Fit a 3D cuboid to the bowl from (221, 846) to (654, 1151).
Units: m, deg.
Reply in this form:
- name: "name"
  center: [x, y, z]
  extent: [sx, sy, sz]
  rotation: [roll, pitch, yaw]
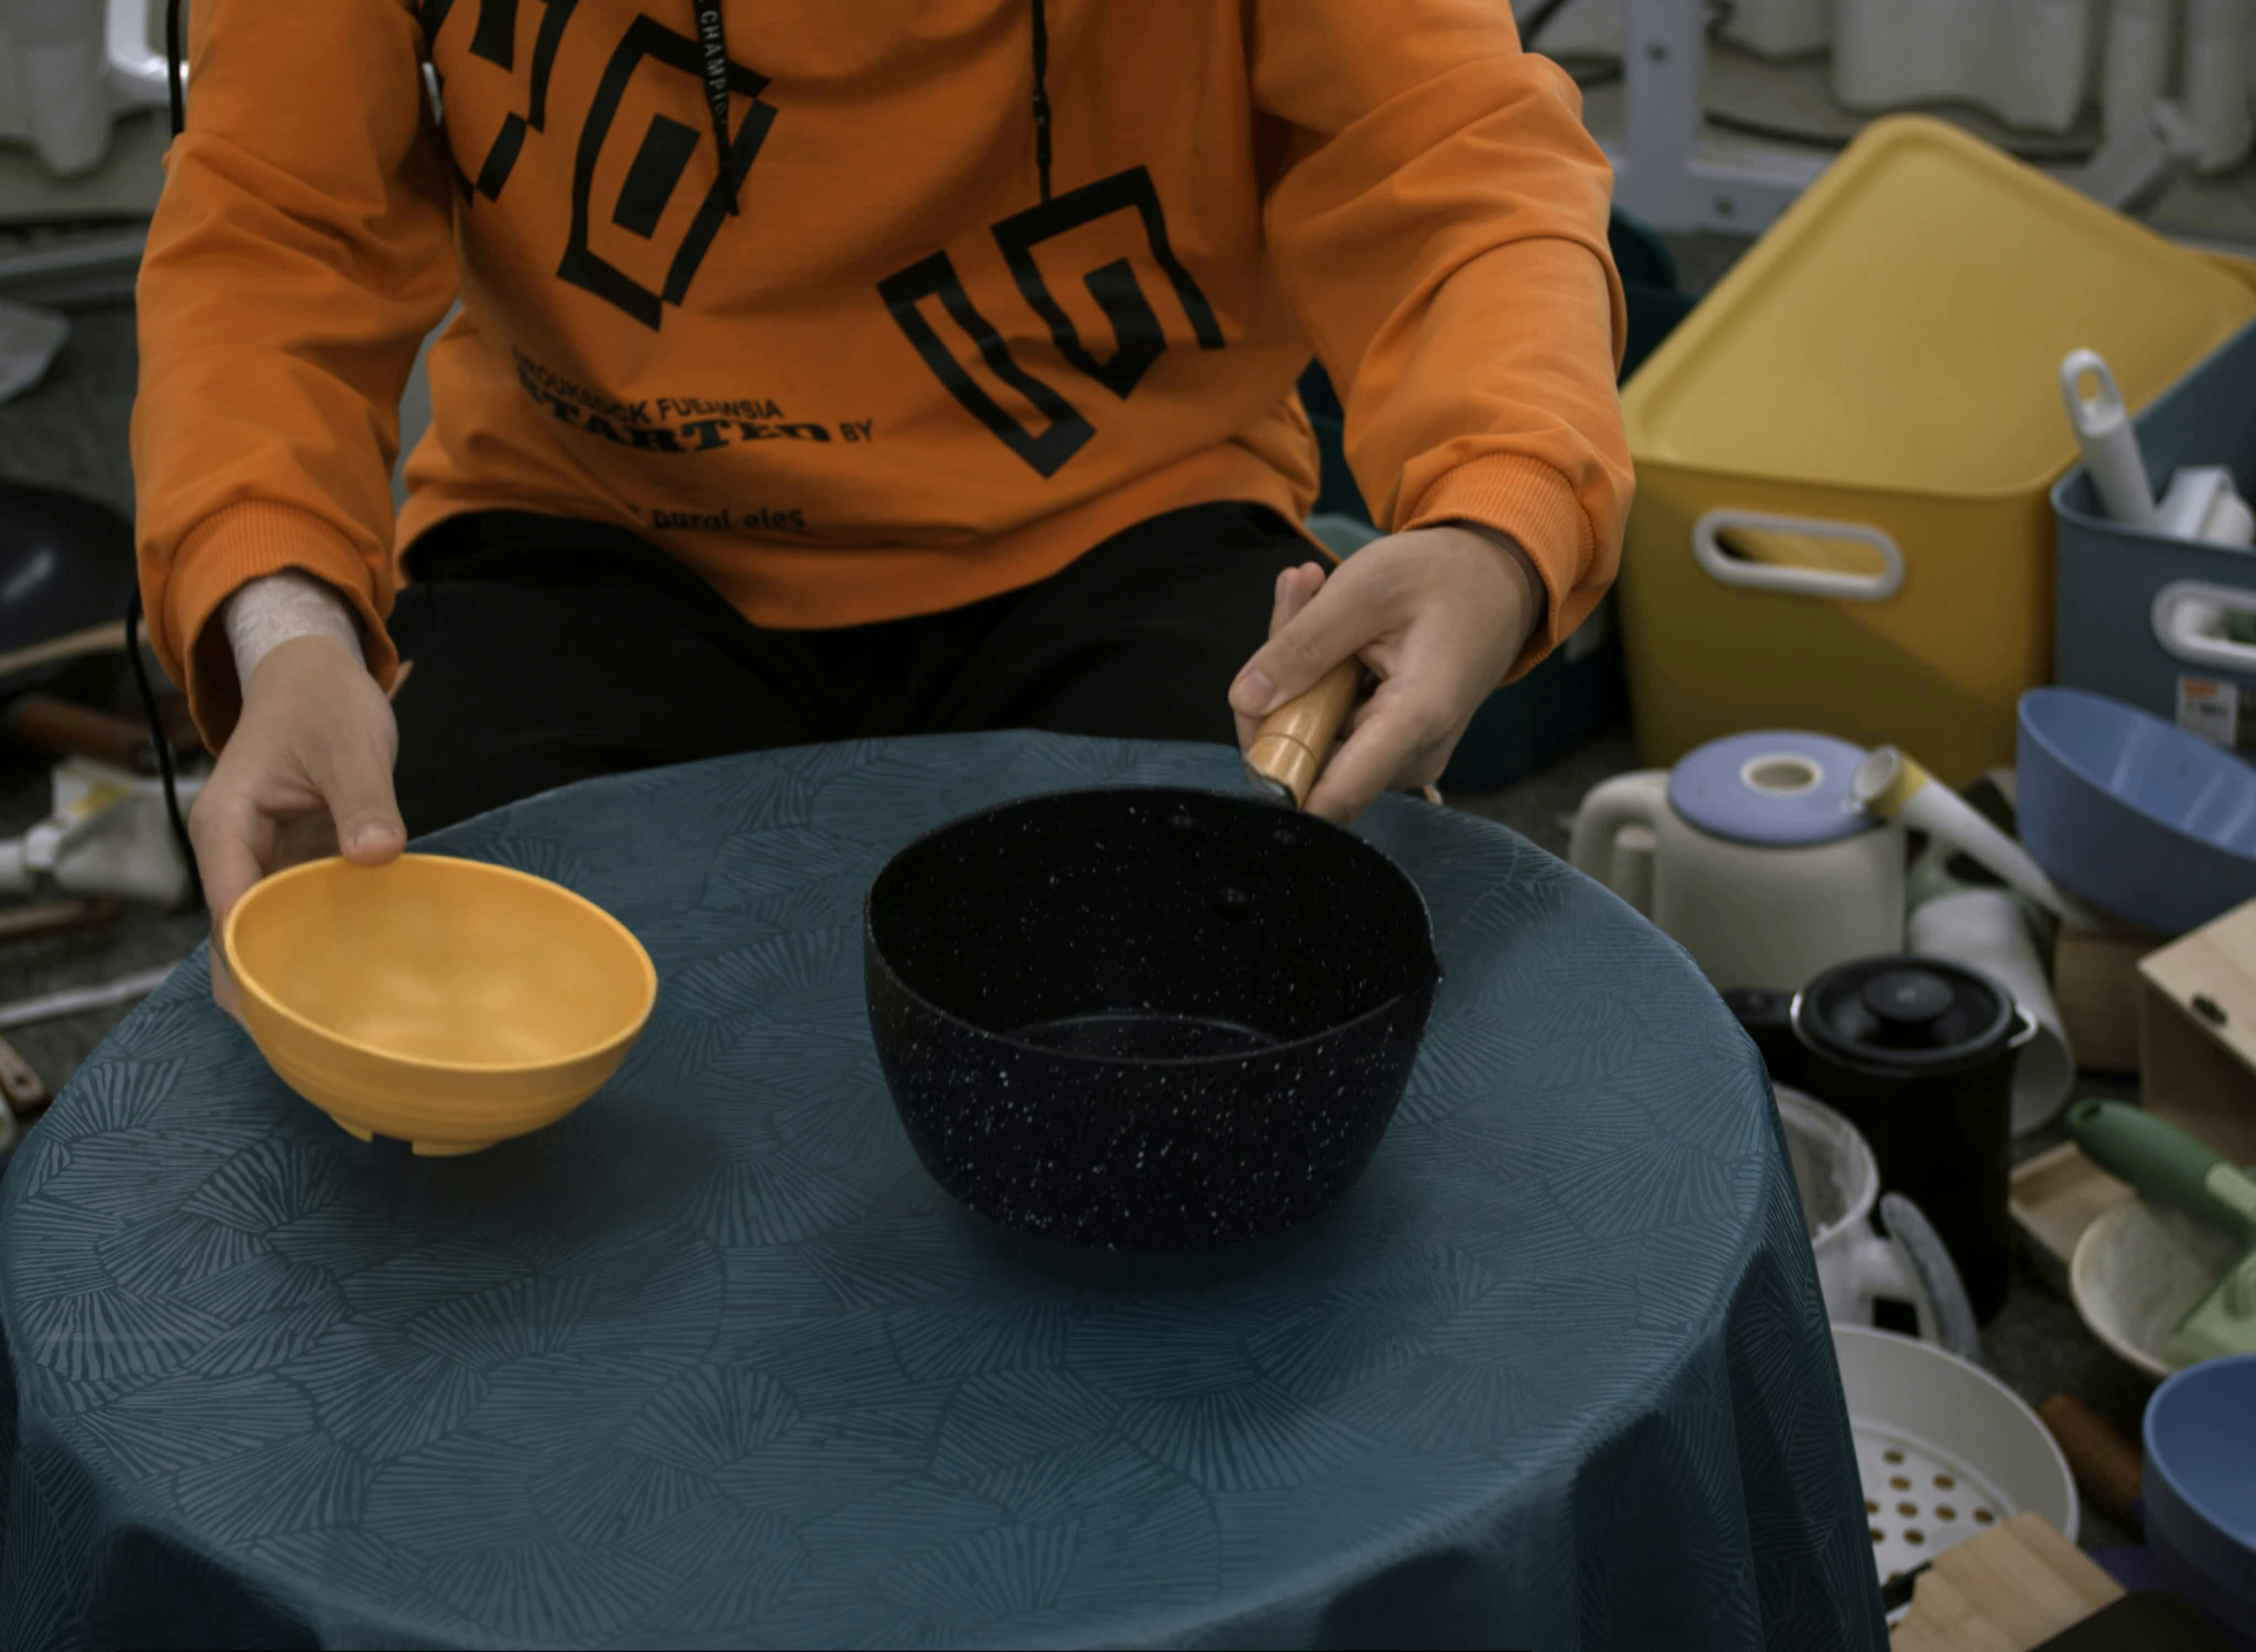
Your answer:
- name: "bowl"
  center: [-0.234, 0.067, 1.873]
  extent: [0.145, 0.059, 0.147]
  rotation: [12, 24, -5]

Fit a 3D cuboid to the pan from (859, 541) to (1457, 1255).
- name: "pan"
  center: [0.032, 0.020, 1.898]
  extent: [0.206, 0.107, 0.349]
  rotation: [9, 29, 16]
